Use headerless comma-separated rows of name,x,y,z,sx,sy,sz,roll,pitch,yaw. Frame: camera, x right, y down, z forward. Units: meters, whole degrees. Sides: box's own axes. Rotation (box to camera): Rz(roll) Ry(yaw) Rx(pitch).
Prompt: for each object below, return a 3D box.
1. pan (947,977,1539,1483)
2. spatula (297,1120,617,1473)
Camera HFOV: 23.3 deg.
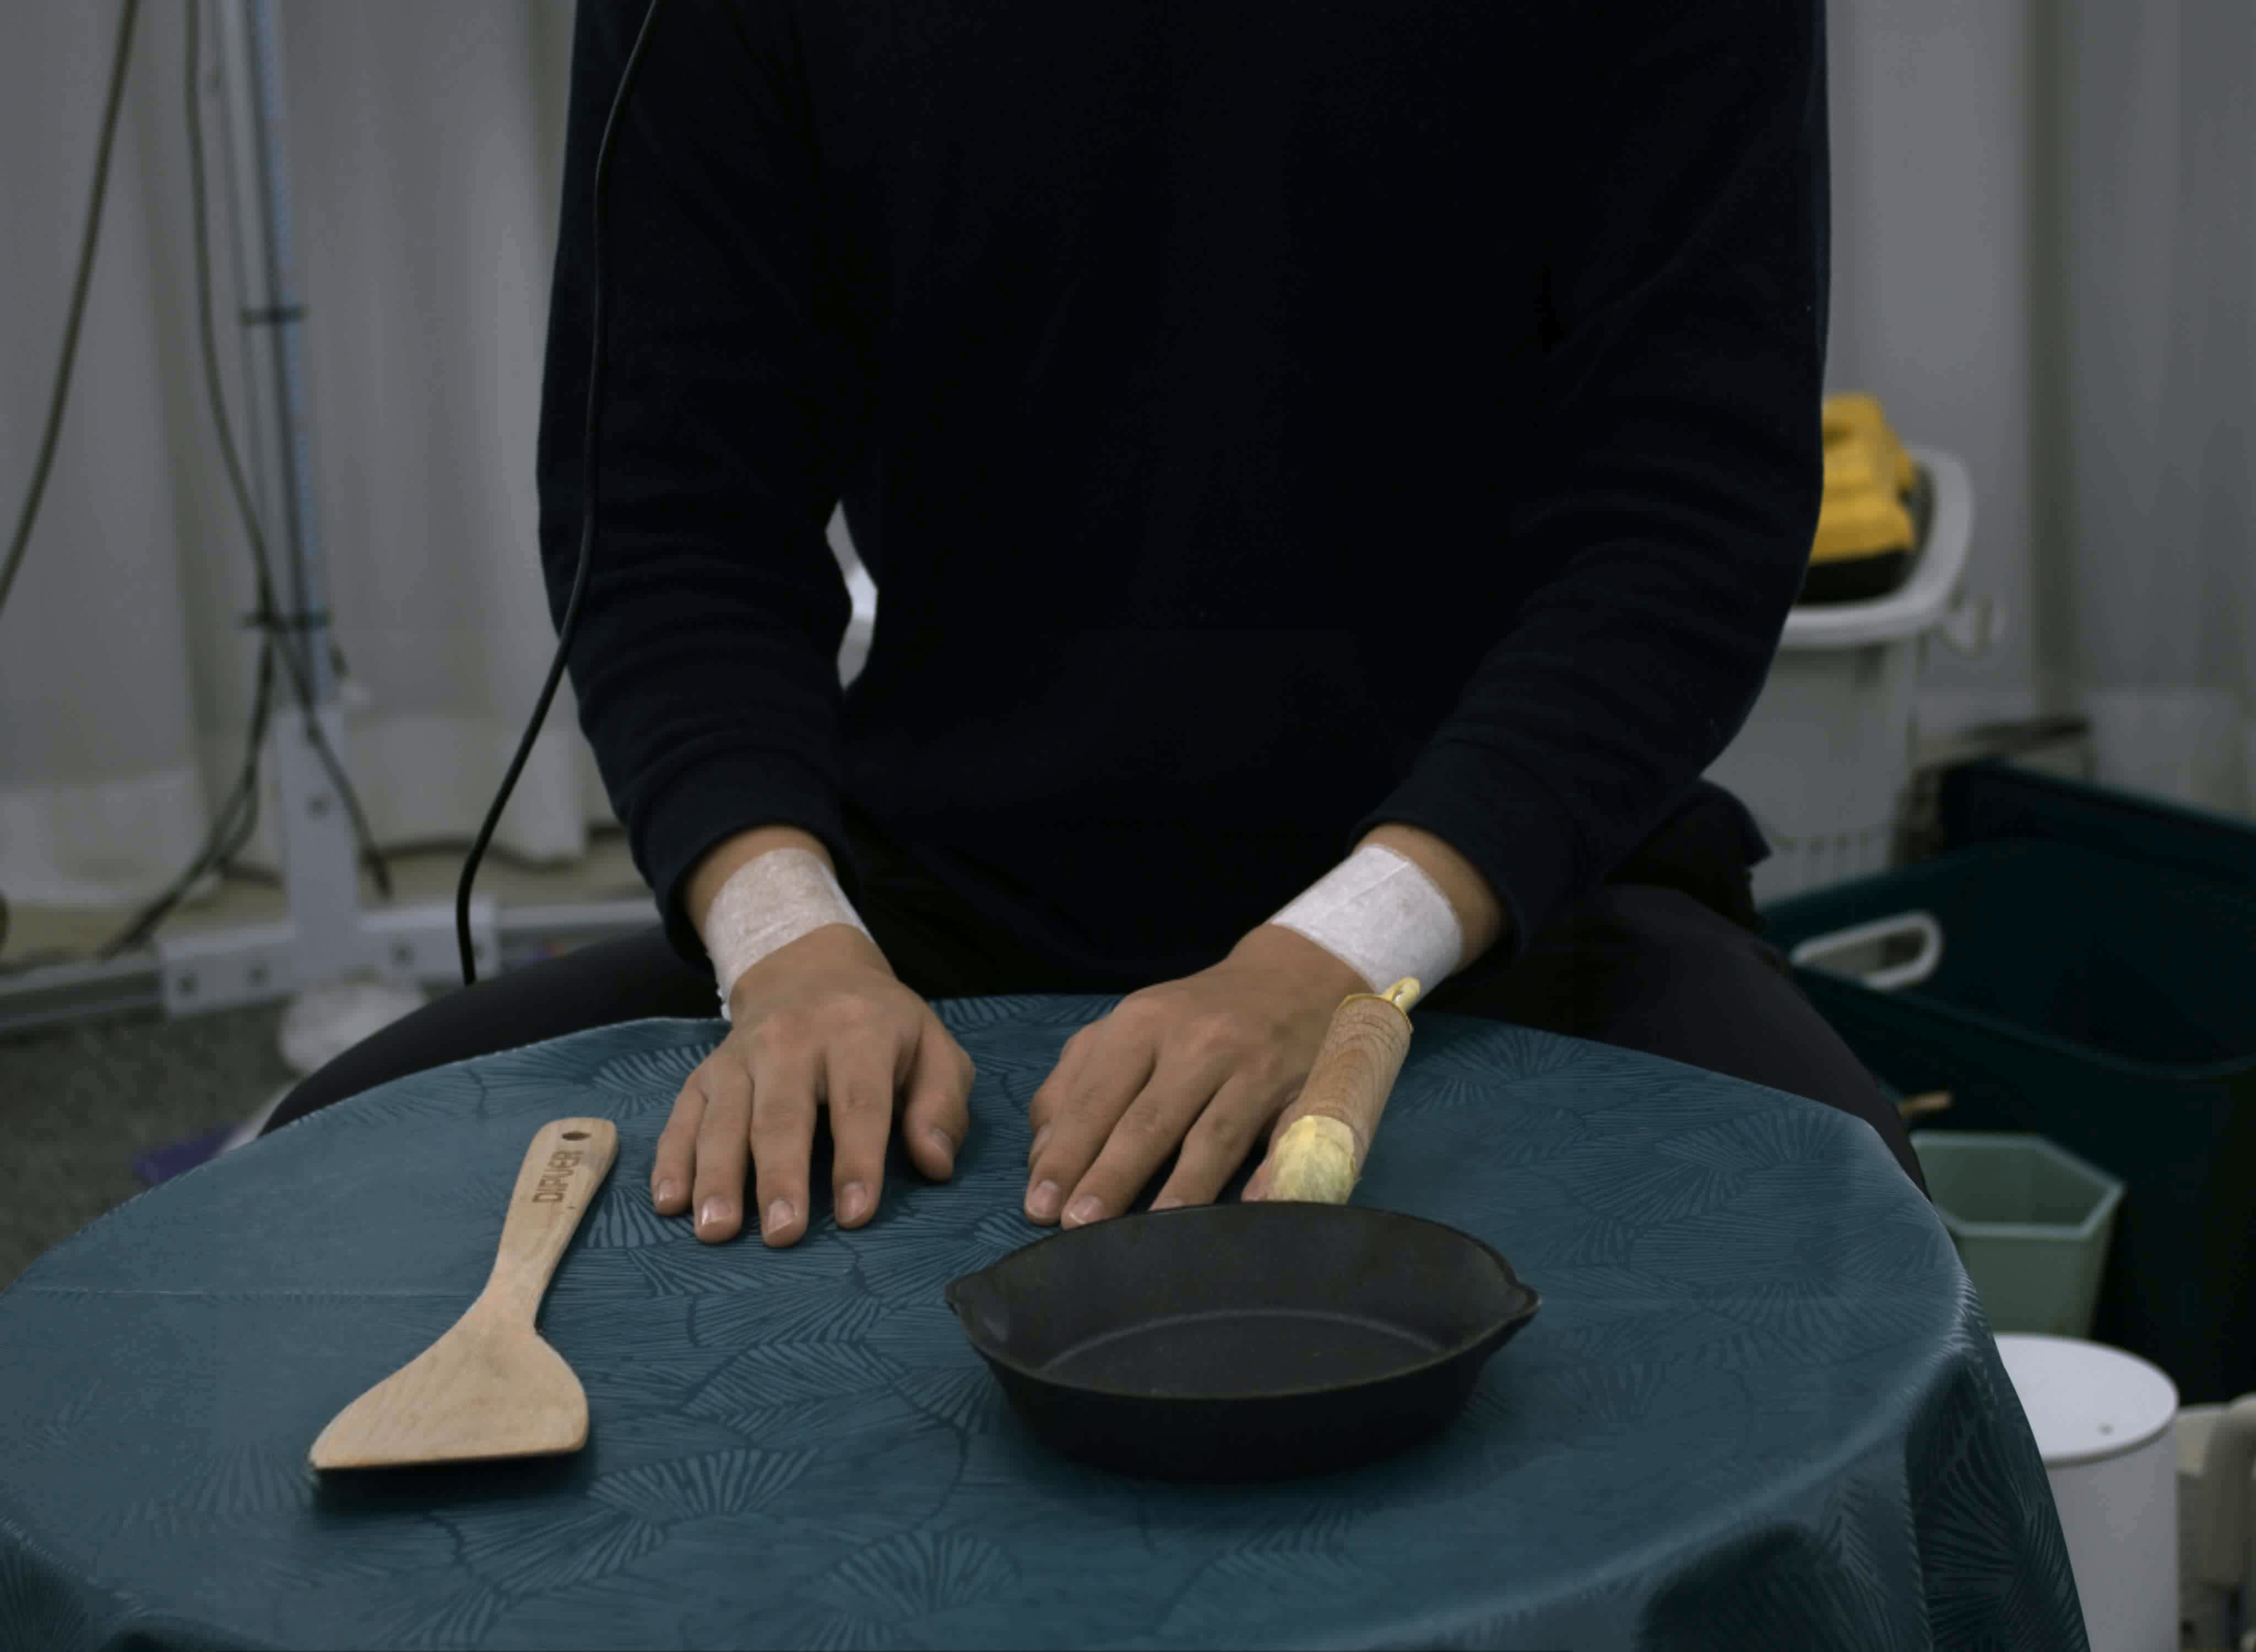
pan,0.052,0.115,1.607,0.169,0.049,0.326,1,17,14
spatula,-0.183,0.137,1.636,0.080,0.016,0.330,-2,15,2
